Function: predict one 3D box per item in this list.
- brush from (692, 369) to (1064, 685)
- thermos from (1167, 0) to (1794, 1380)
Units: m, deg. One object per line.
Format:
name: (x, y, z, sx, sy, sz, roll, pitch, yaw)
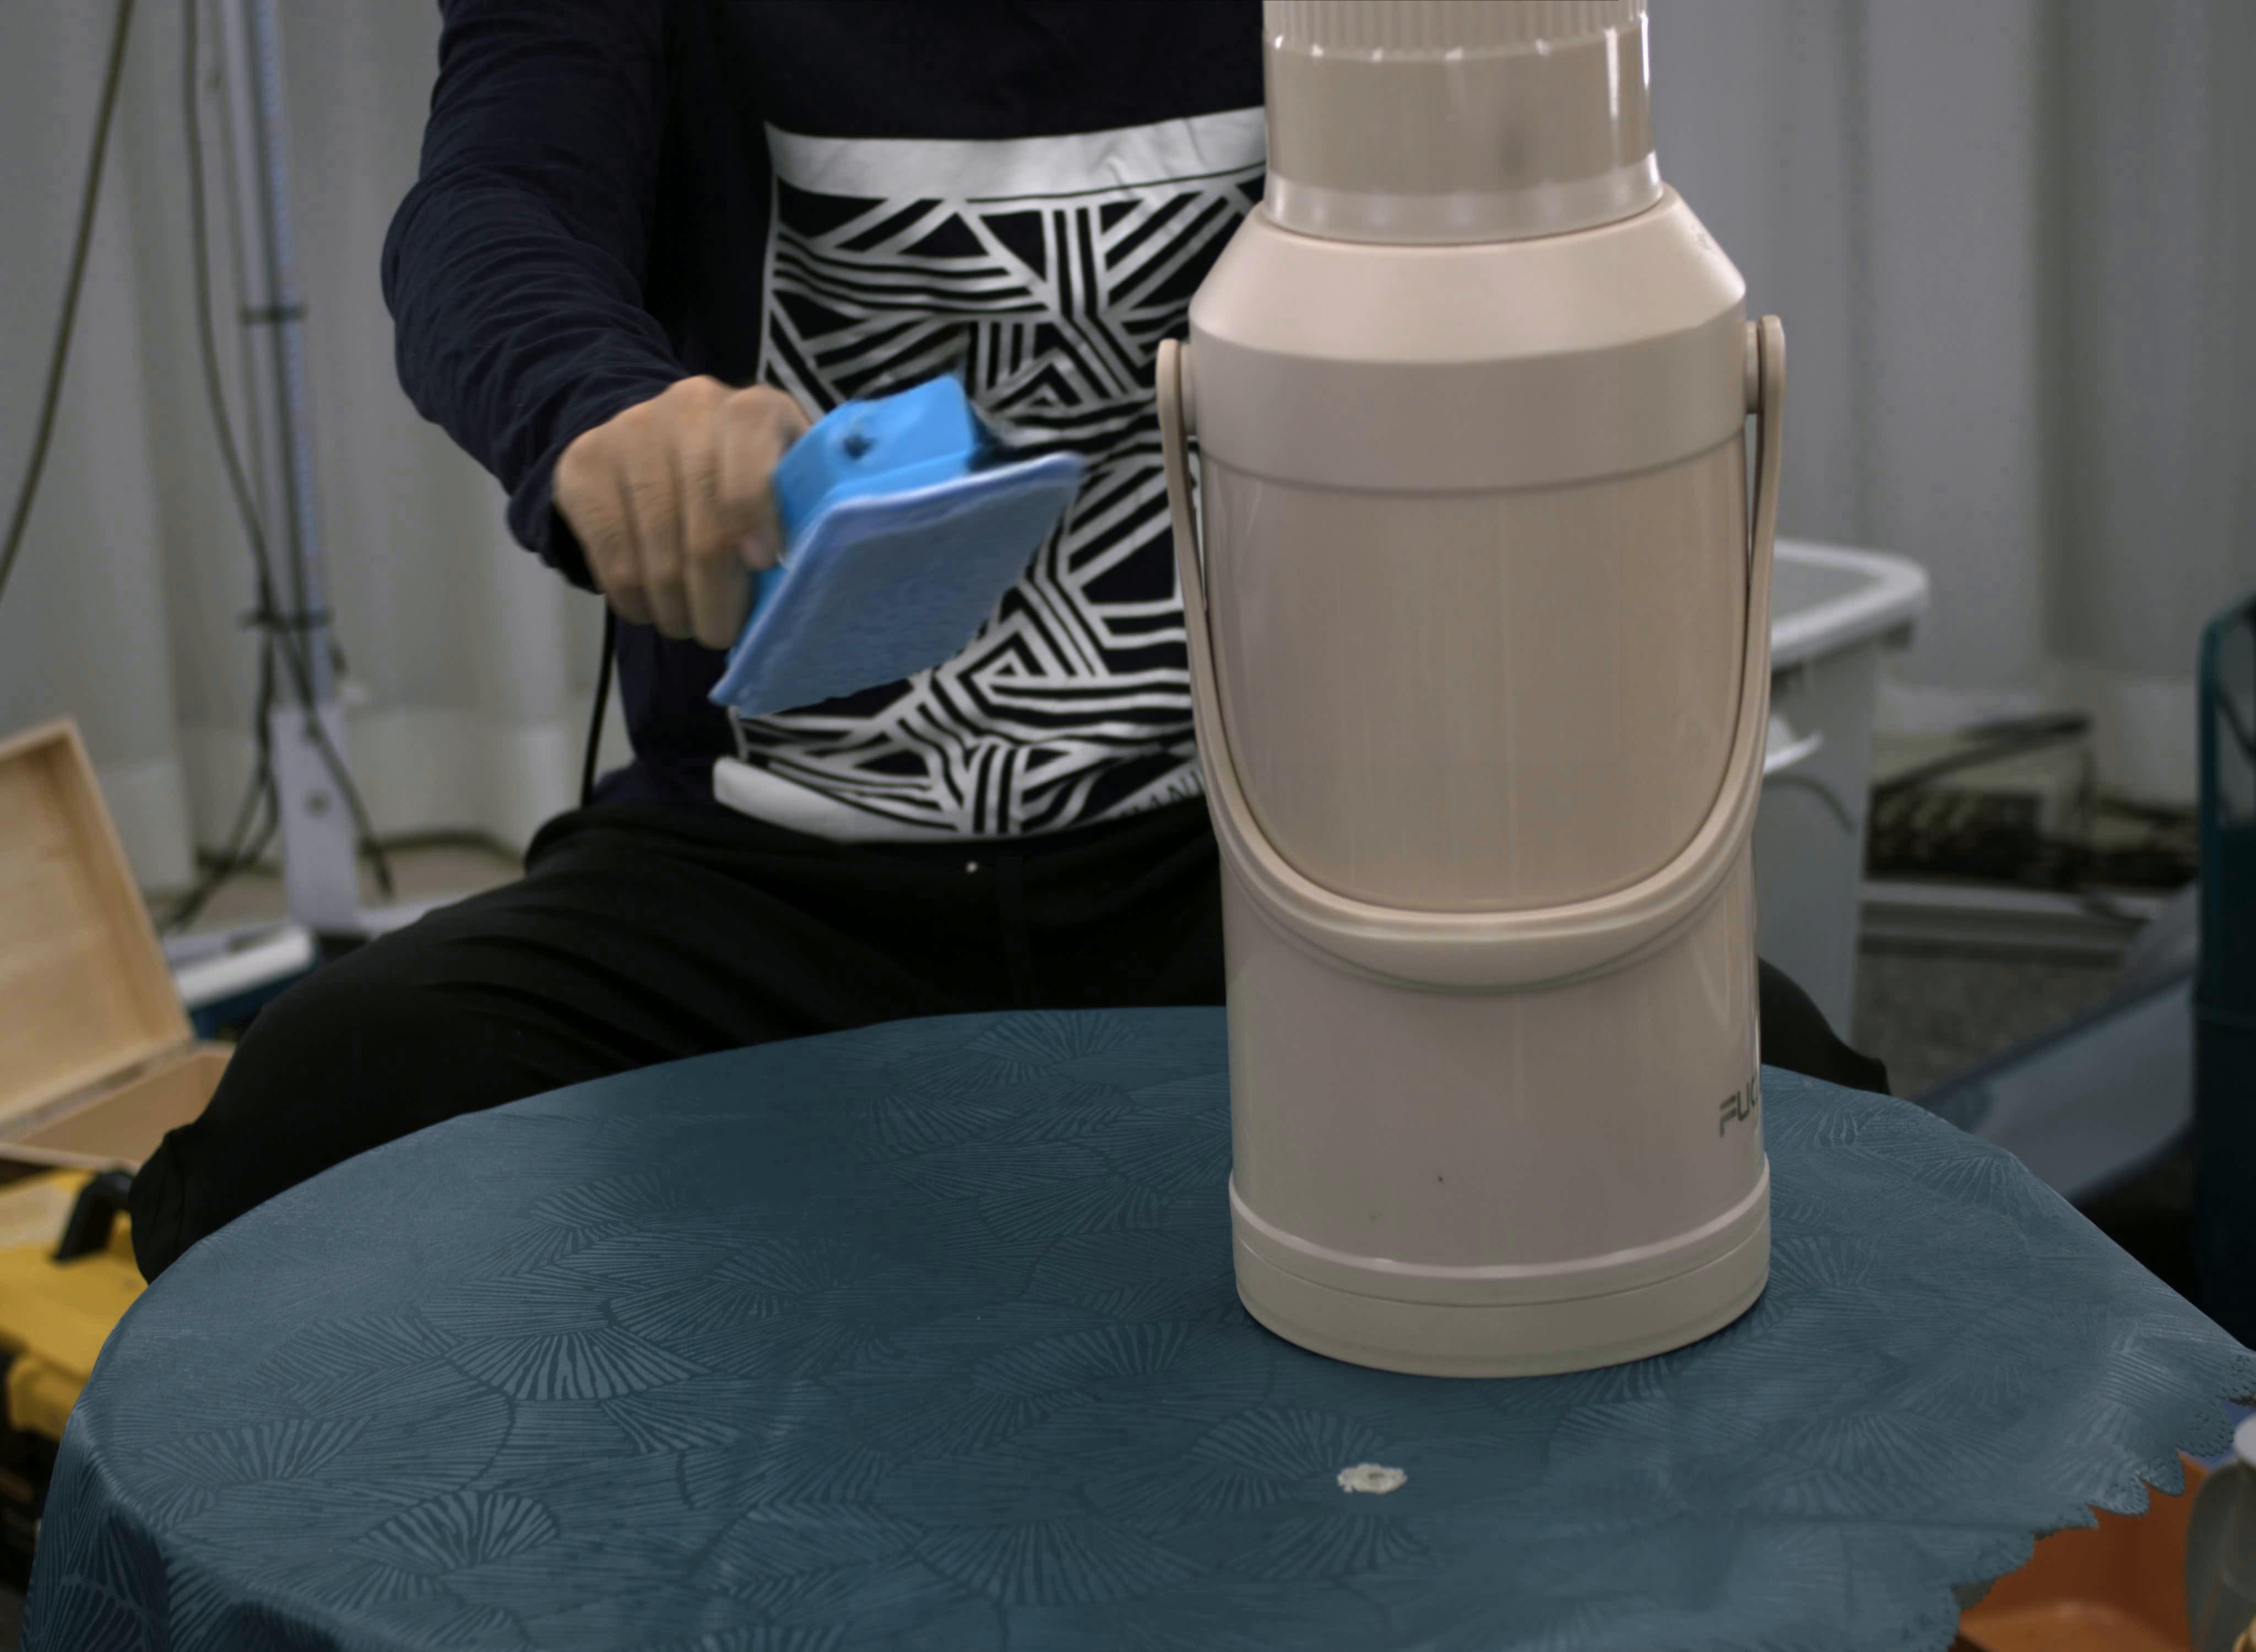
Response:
brush: (-0.073, -0.086, 1.521, 0.083, 0.056, 0.143, -12, -15, -22)
thermos: (0.105, -0.061, 1.571, 0.175, 0.404, 0.208, -4, 16, 4)
